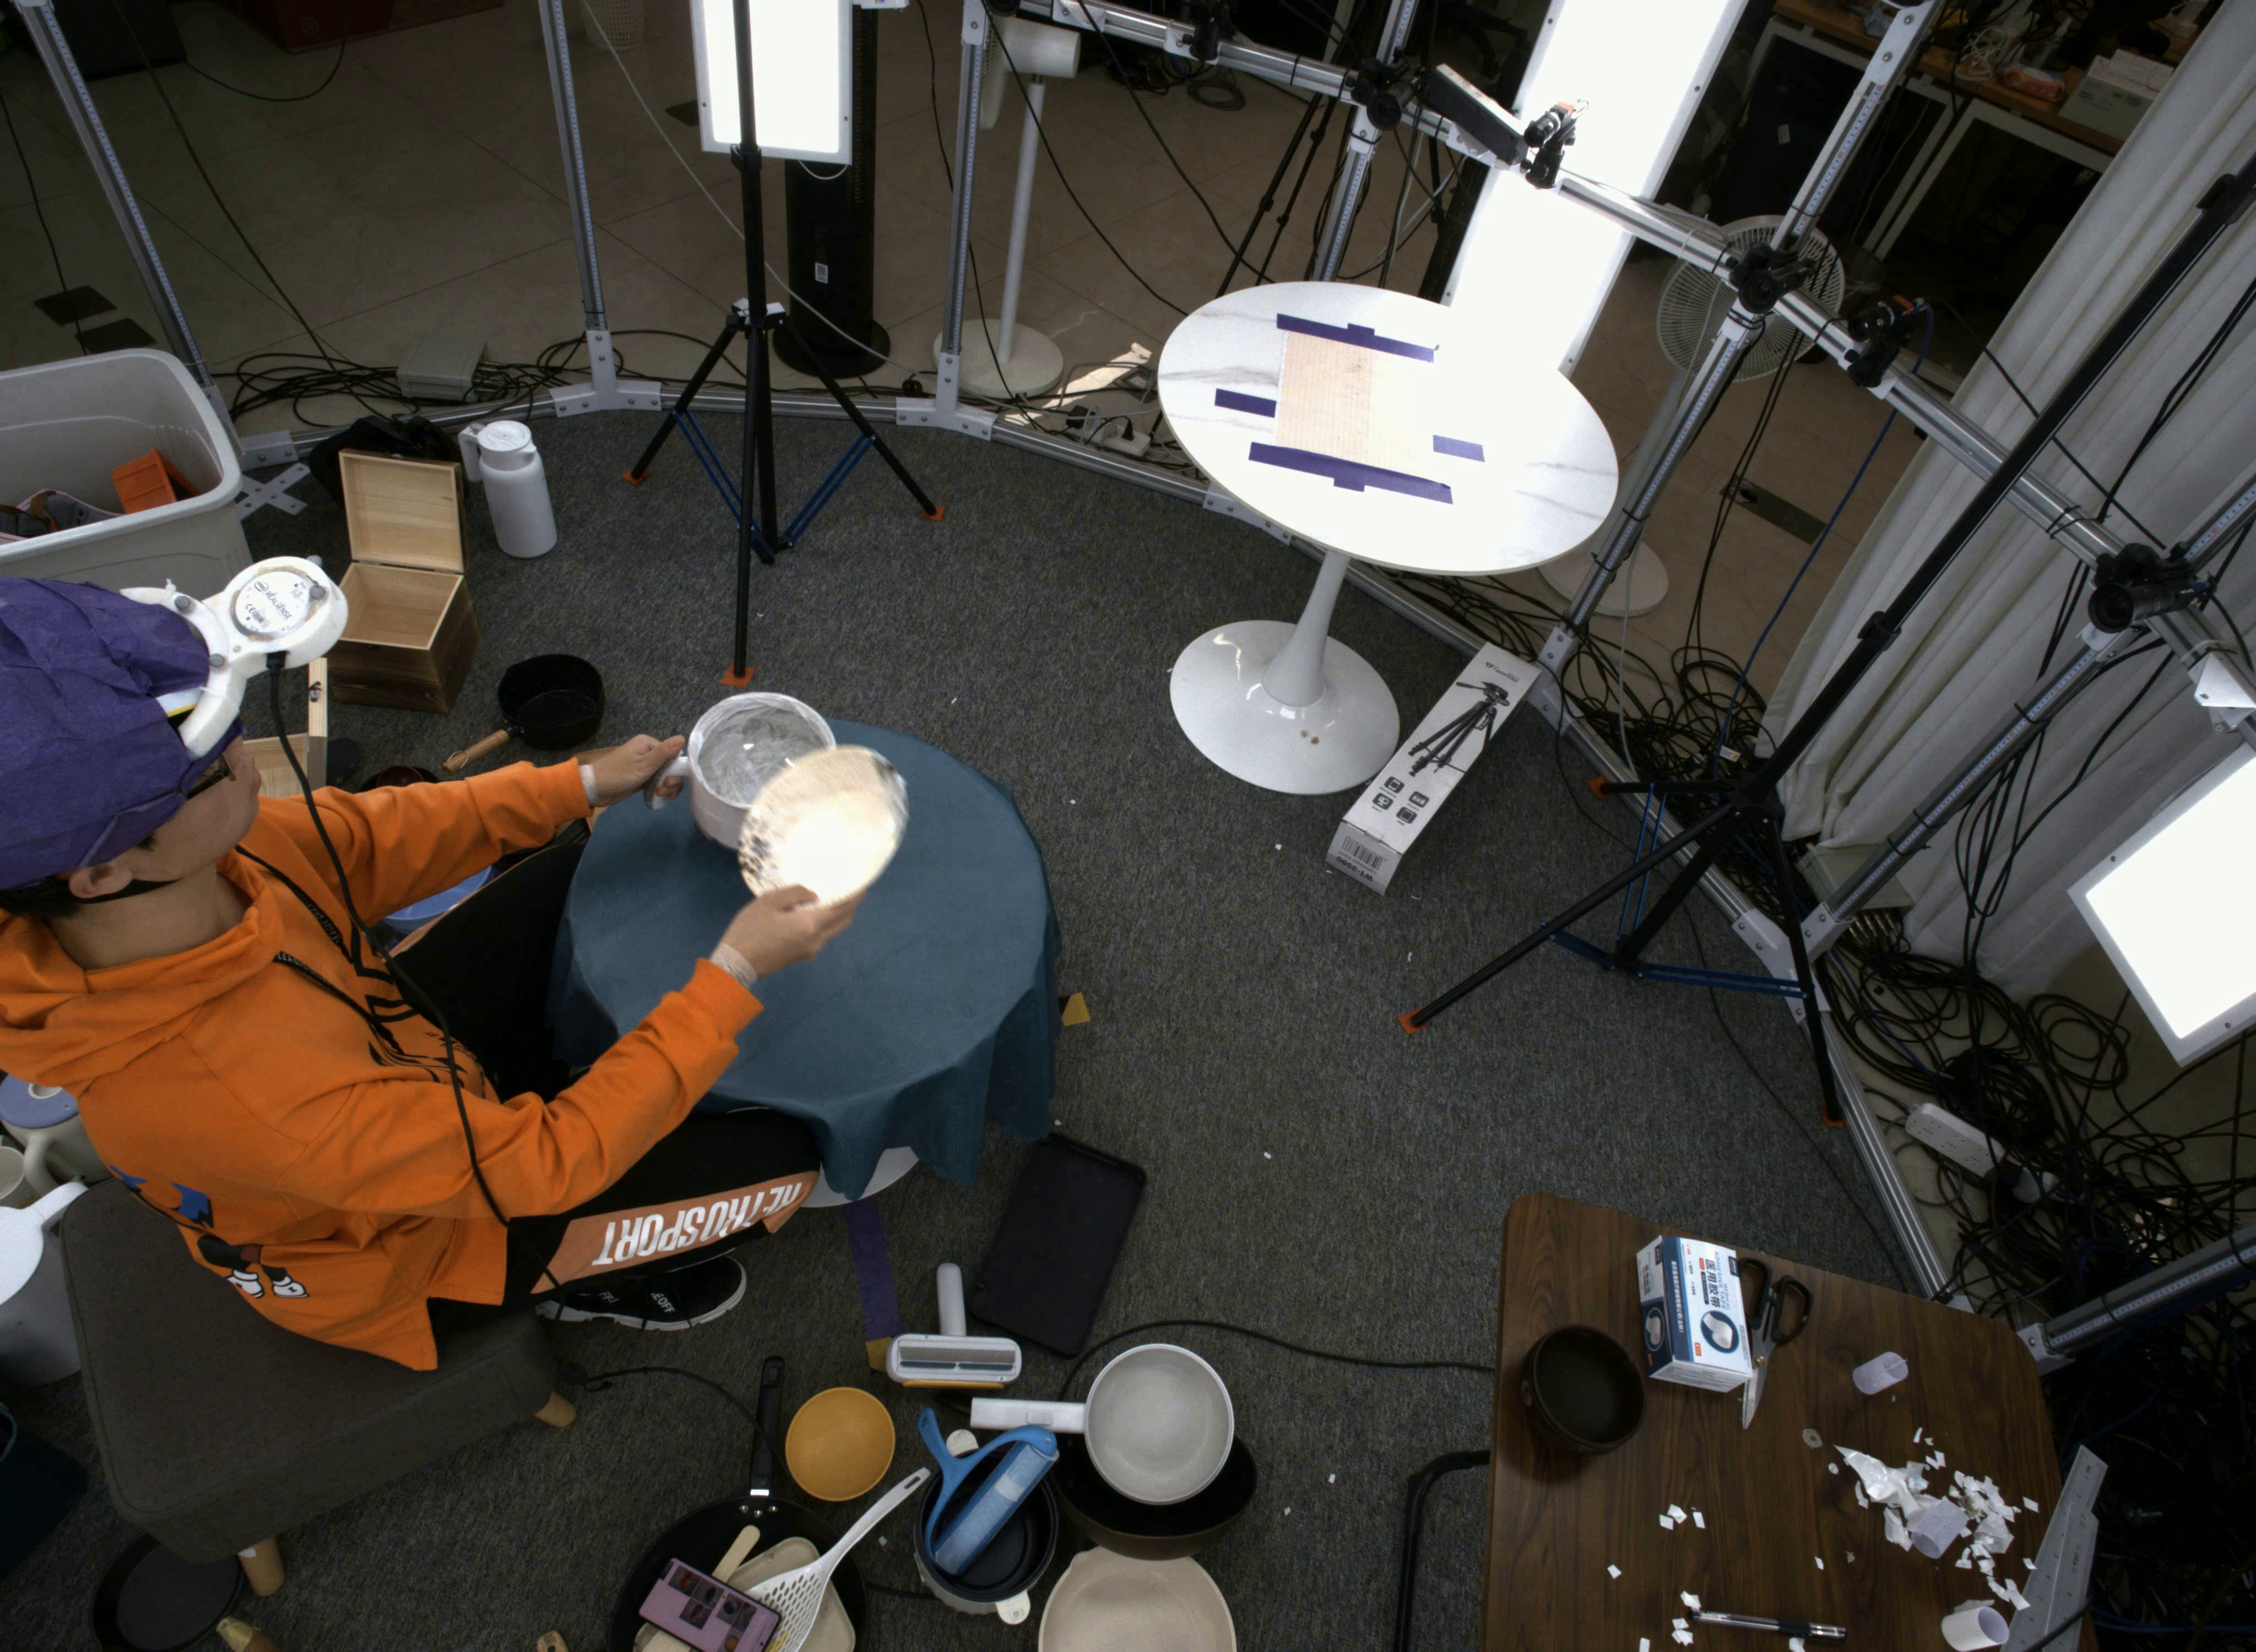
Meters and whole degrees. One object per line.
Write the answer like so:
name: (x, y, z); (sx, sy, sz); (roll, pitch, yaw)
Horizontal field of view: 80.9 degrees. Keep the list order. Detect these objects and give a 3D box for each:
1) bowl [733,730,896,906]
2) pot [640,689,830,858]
bowl: (-0.322, 0.003, 1.406); (0.199, 0.080, 0.202); (-8, 64, 18)
pot: (-0.484, -0.059, 1.592); (0.235, 0.138, 0.175); (-1, 59, -19)
